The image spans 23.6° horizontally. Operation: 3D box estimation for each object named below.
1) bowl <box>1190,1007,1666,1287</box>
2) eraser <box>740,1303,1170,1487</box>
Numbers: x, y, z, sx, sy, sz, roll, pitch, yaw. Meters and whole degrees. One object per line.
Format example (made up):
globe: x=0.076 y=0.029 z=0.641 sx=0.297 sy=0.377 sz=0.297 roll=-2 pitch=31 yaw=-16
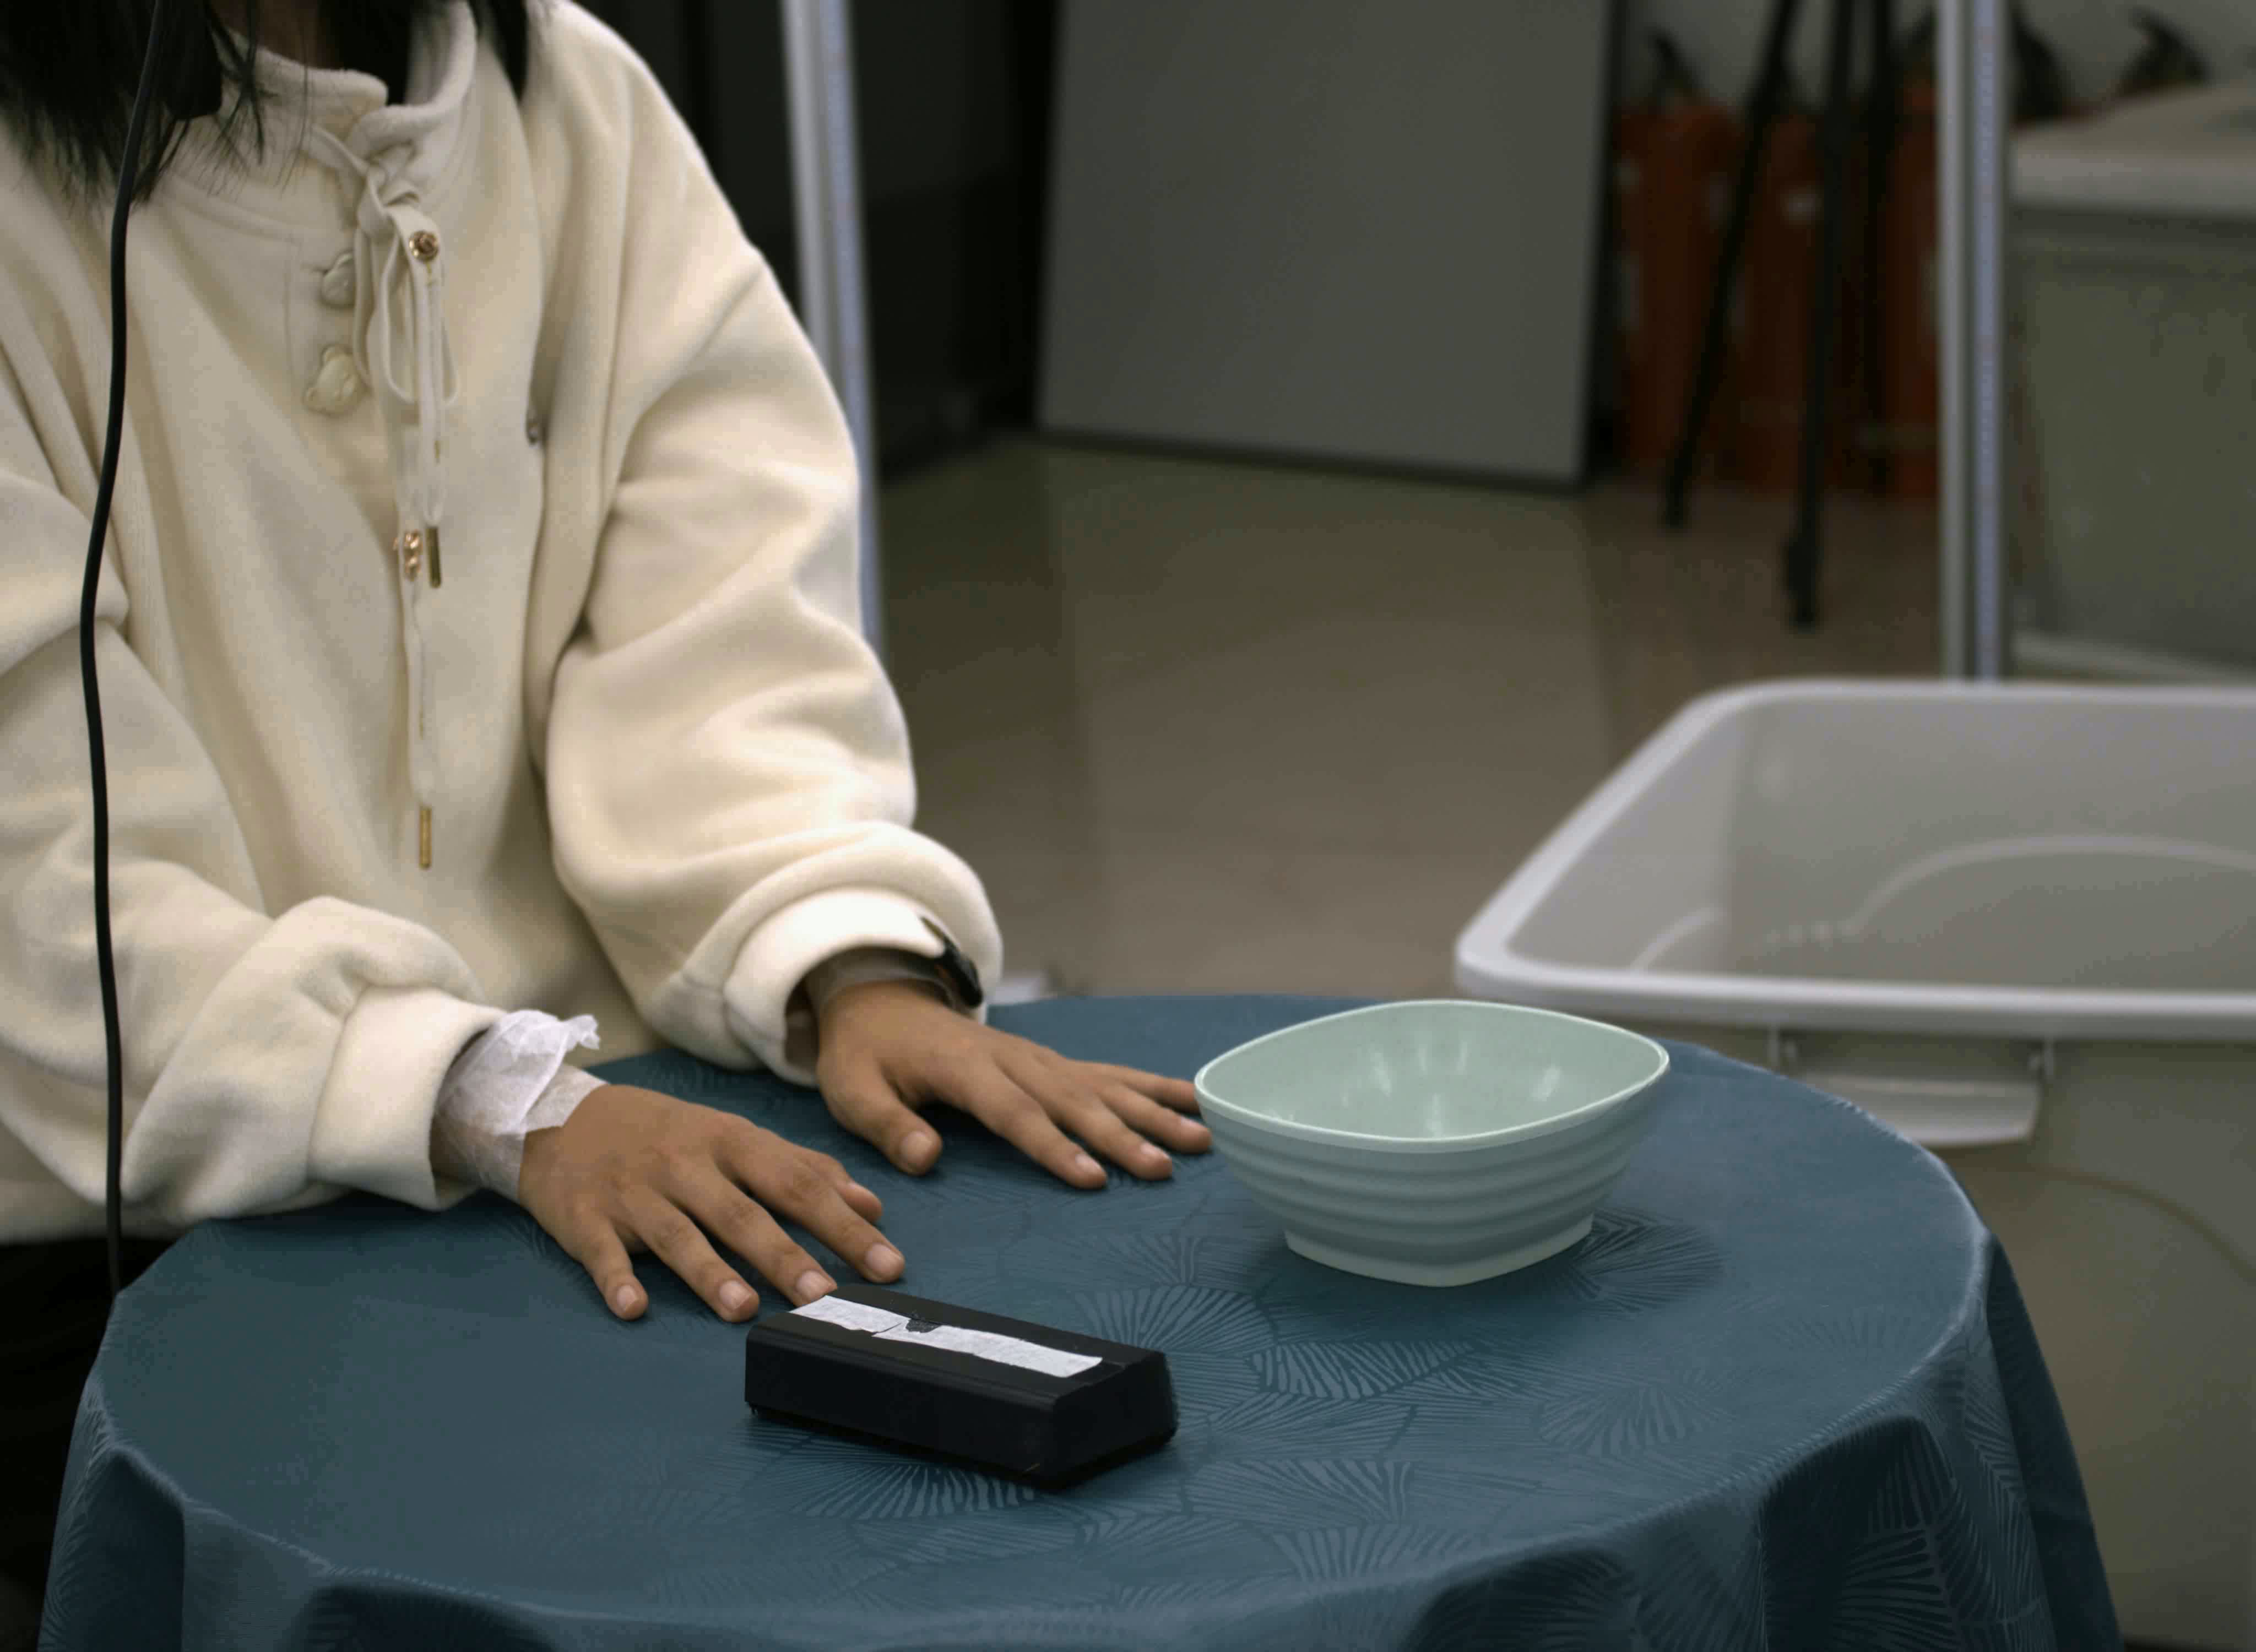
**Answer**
bowl: x=0.095 y=0.103 z=1.694 sx=0.149 sy=0.059 sz=0.151 roll=-2 pitch=12 yaw=-1
eraser: x=-0.049 y=0.163 z=1.557 sx=0.126 sy=0.031 sz=0.052 roll=5 pitch=14 yaw=40
